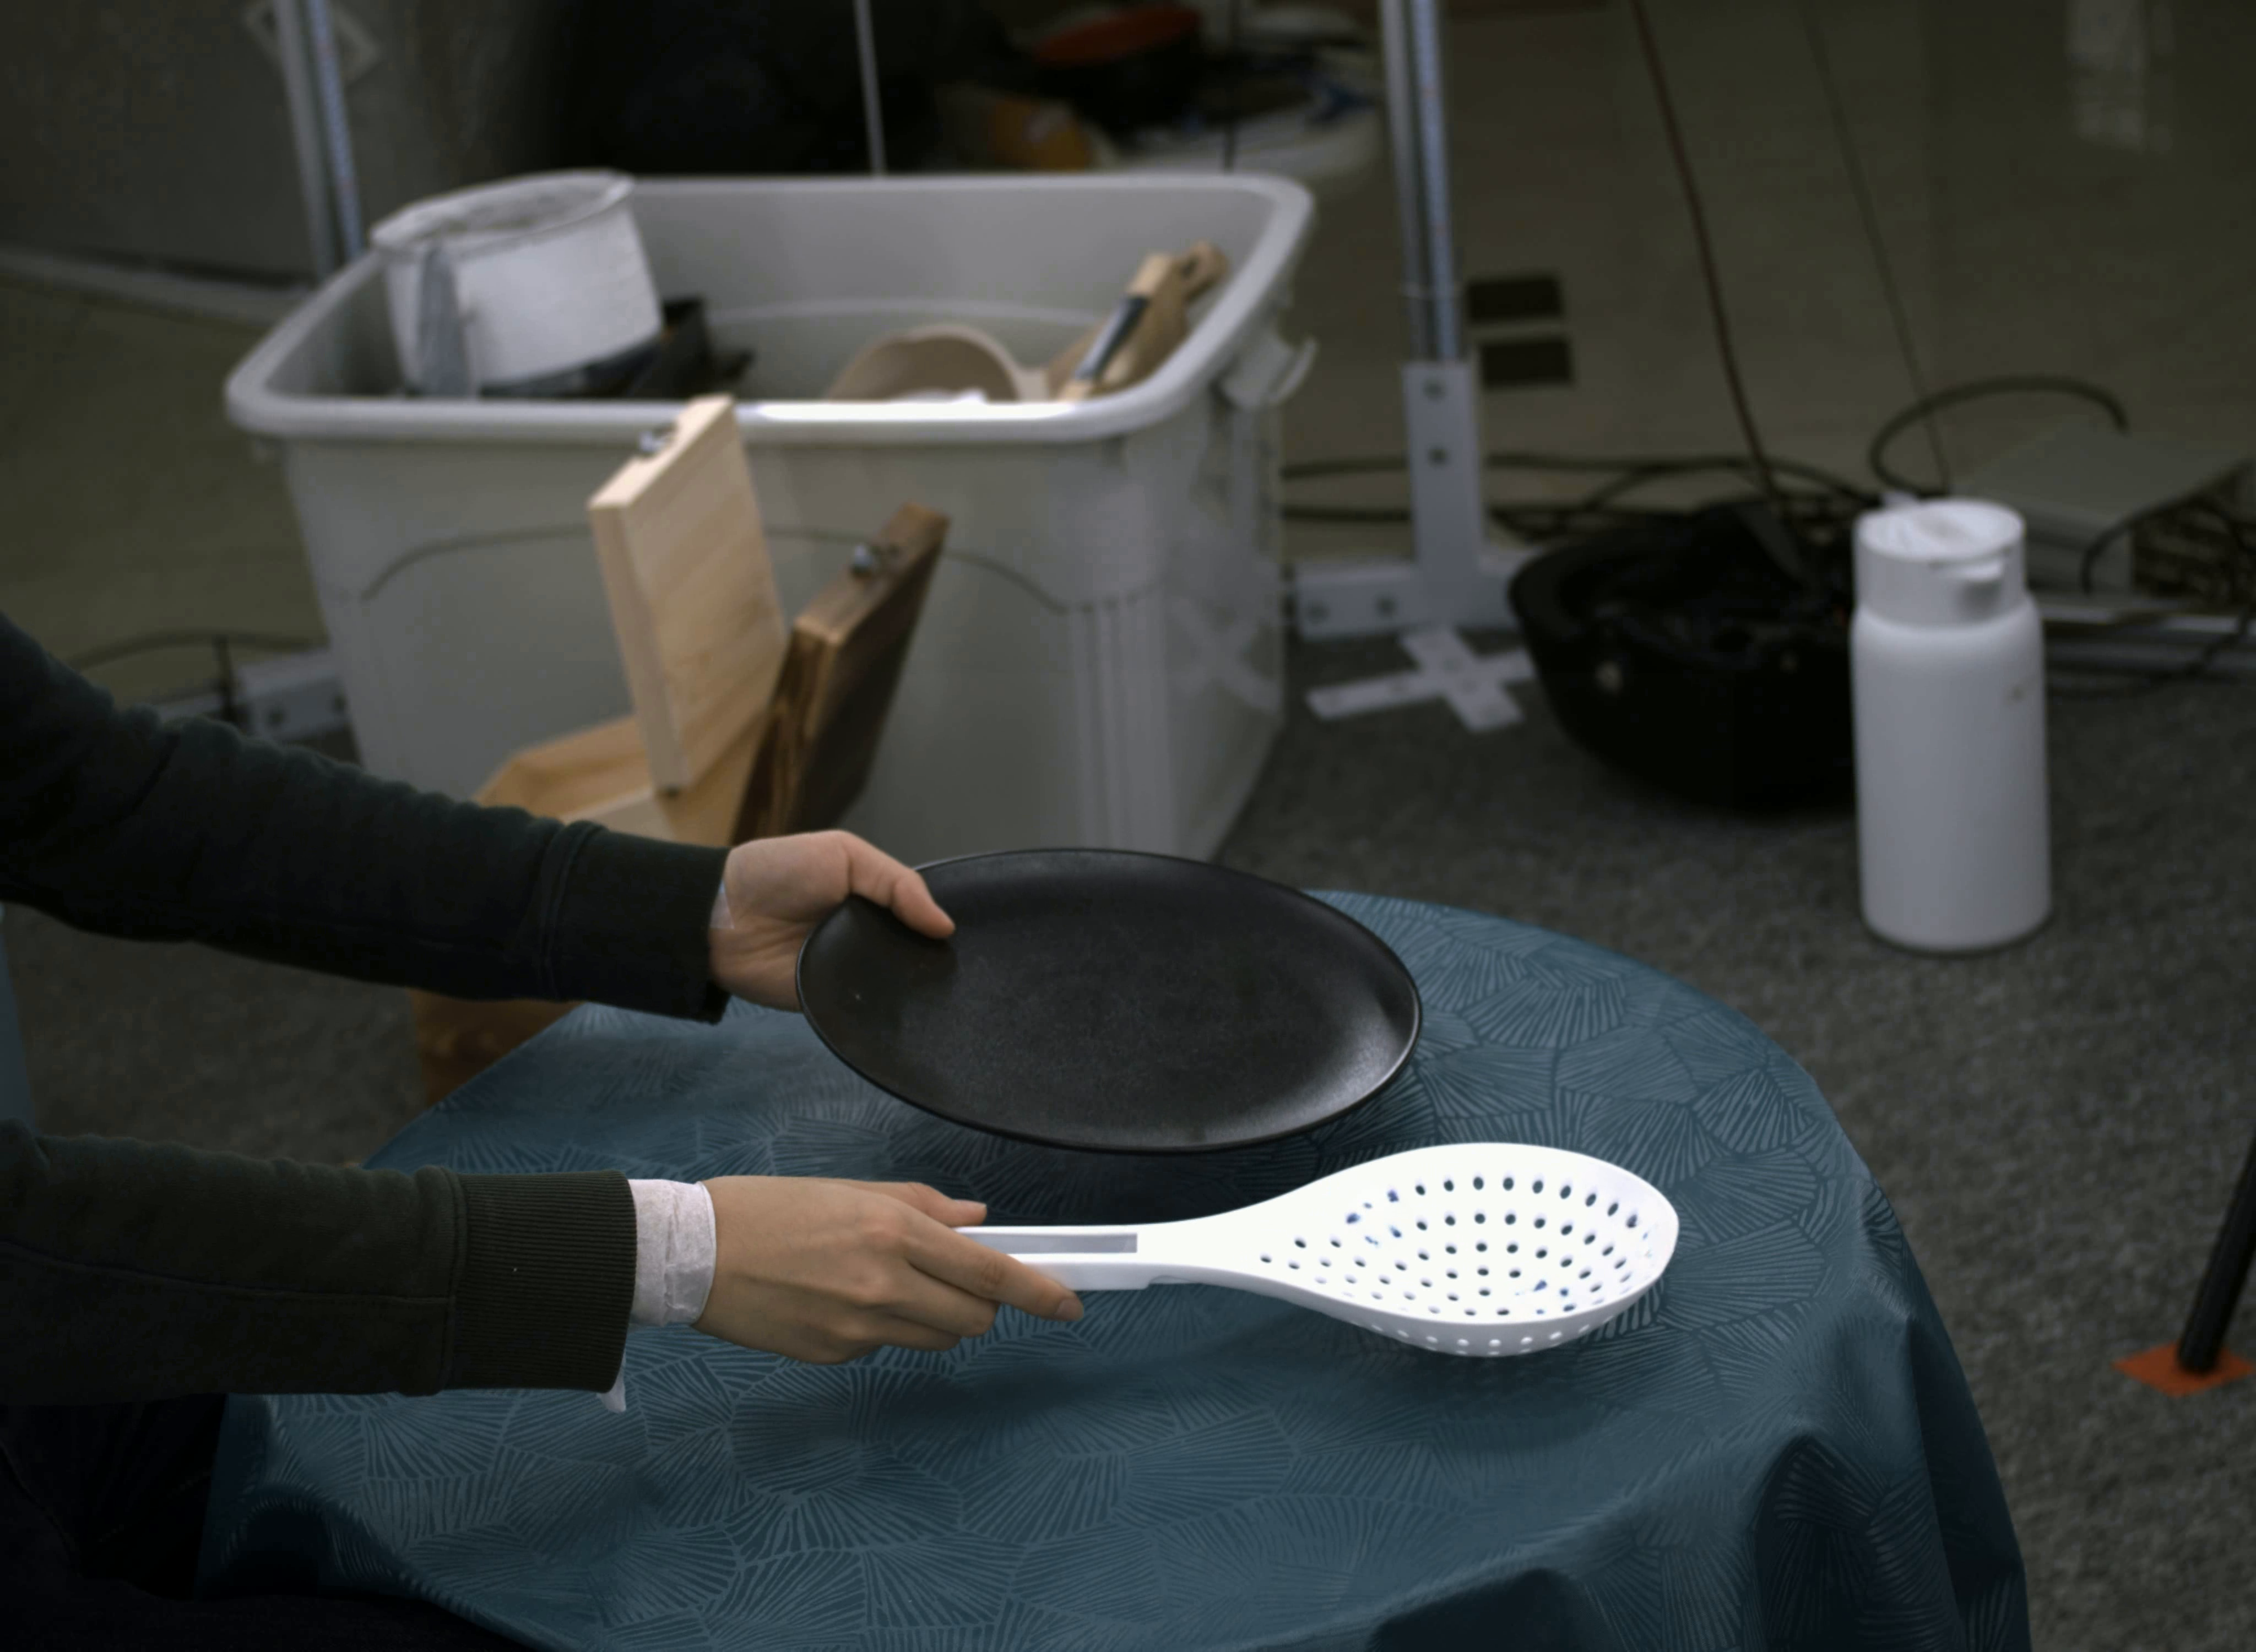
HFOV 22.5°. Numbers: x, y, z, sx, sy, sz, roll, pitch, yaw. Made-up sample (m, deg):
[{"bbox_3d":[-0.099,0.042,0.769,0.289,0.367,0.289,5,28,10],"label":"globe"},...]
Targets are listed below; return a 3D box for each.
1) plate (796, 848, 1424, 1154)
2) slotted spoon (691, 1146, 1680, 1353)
[{"bbox_3d":[-0.007,0.072,2.189,0.244,0.024,0.240,4,27,-2],"label":"plate"},{"bbox_3d":[0.019,0.152,2.017,0.349,0.046,0.134,3,23,0],"label":"slotted spoon"}]
